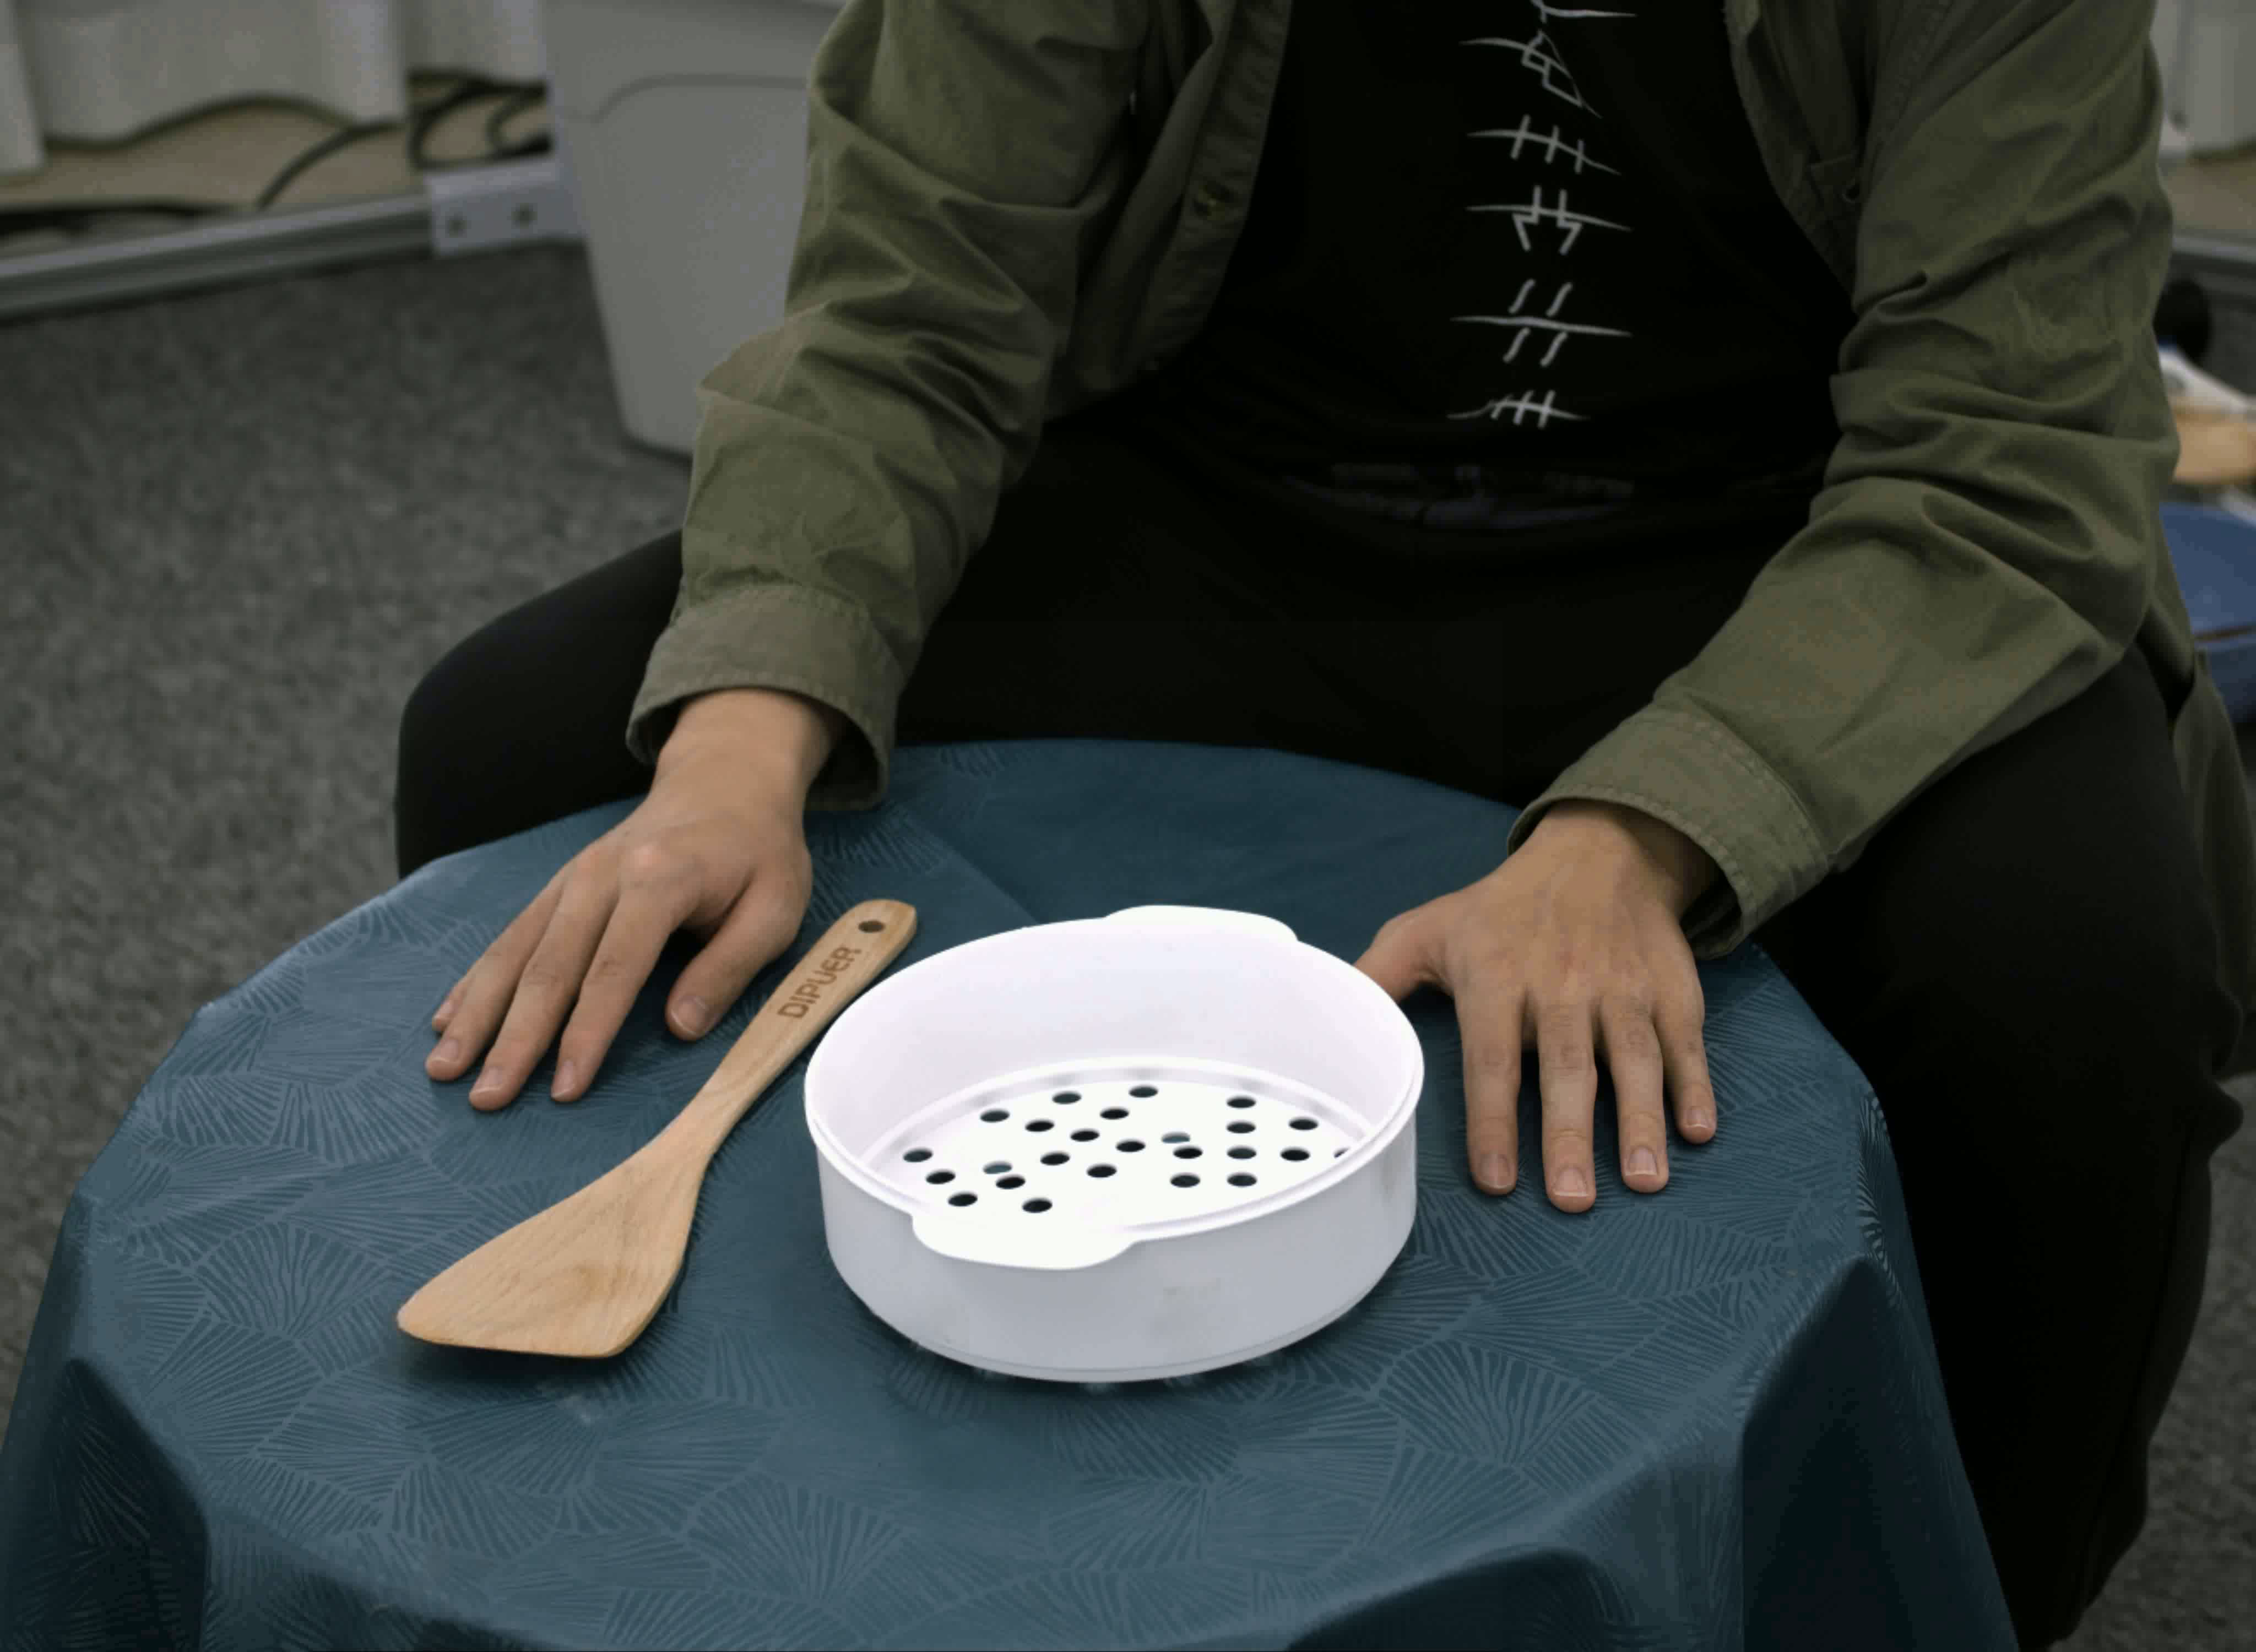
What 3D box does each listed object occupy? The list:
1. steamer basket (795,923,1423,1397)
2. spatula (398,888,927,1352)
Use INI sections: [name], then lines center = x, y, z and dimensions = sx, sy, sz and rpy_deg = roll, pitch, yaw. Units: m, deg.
[steamer basket]
center = -0.005, 0.109, 1.812
dimensions = 0.200, 0.068, 0.234
rpy_deg = 6, 27, 16
[spatula]
center = -0.139, 0.096, 1.902
dimensions = 0.079, 0.016, 0.333
rpy_deg = 8, 30, 20
